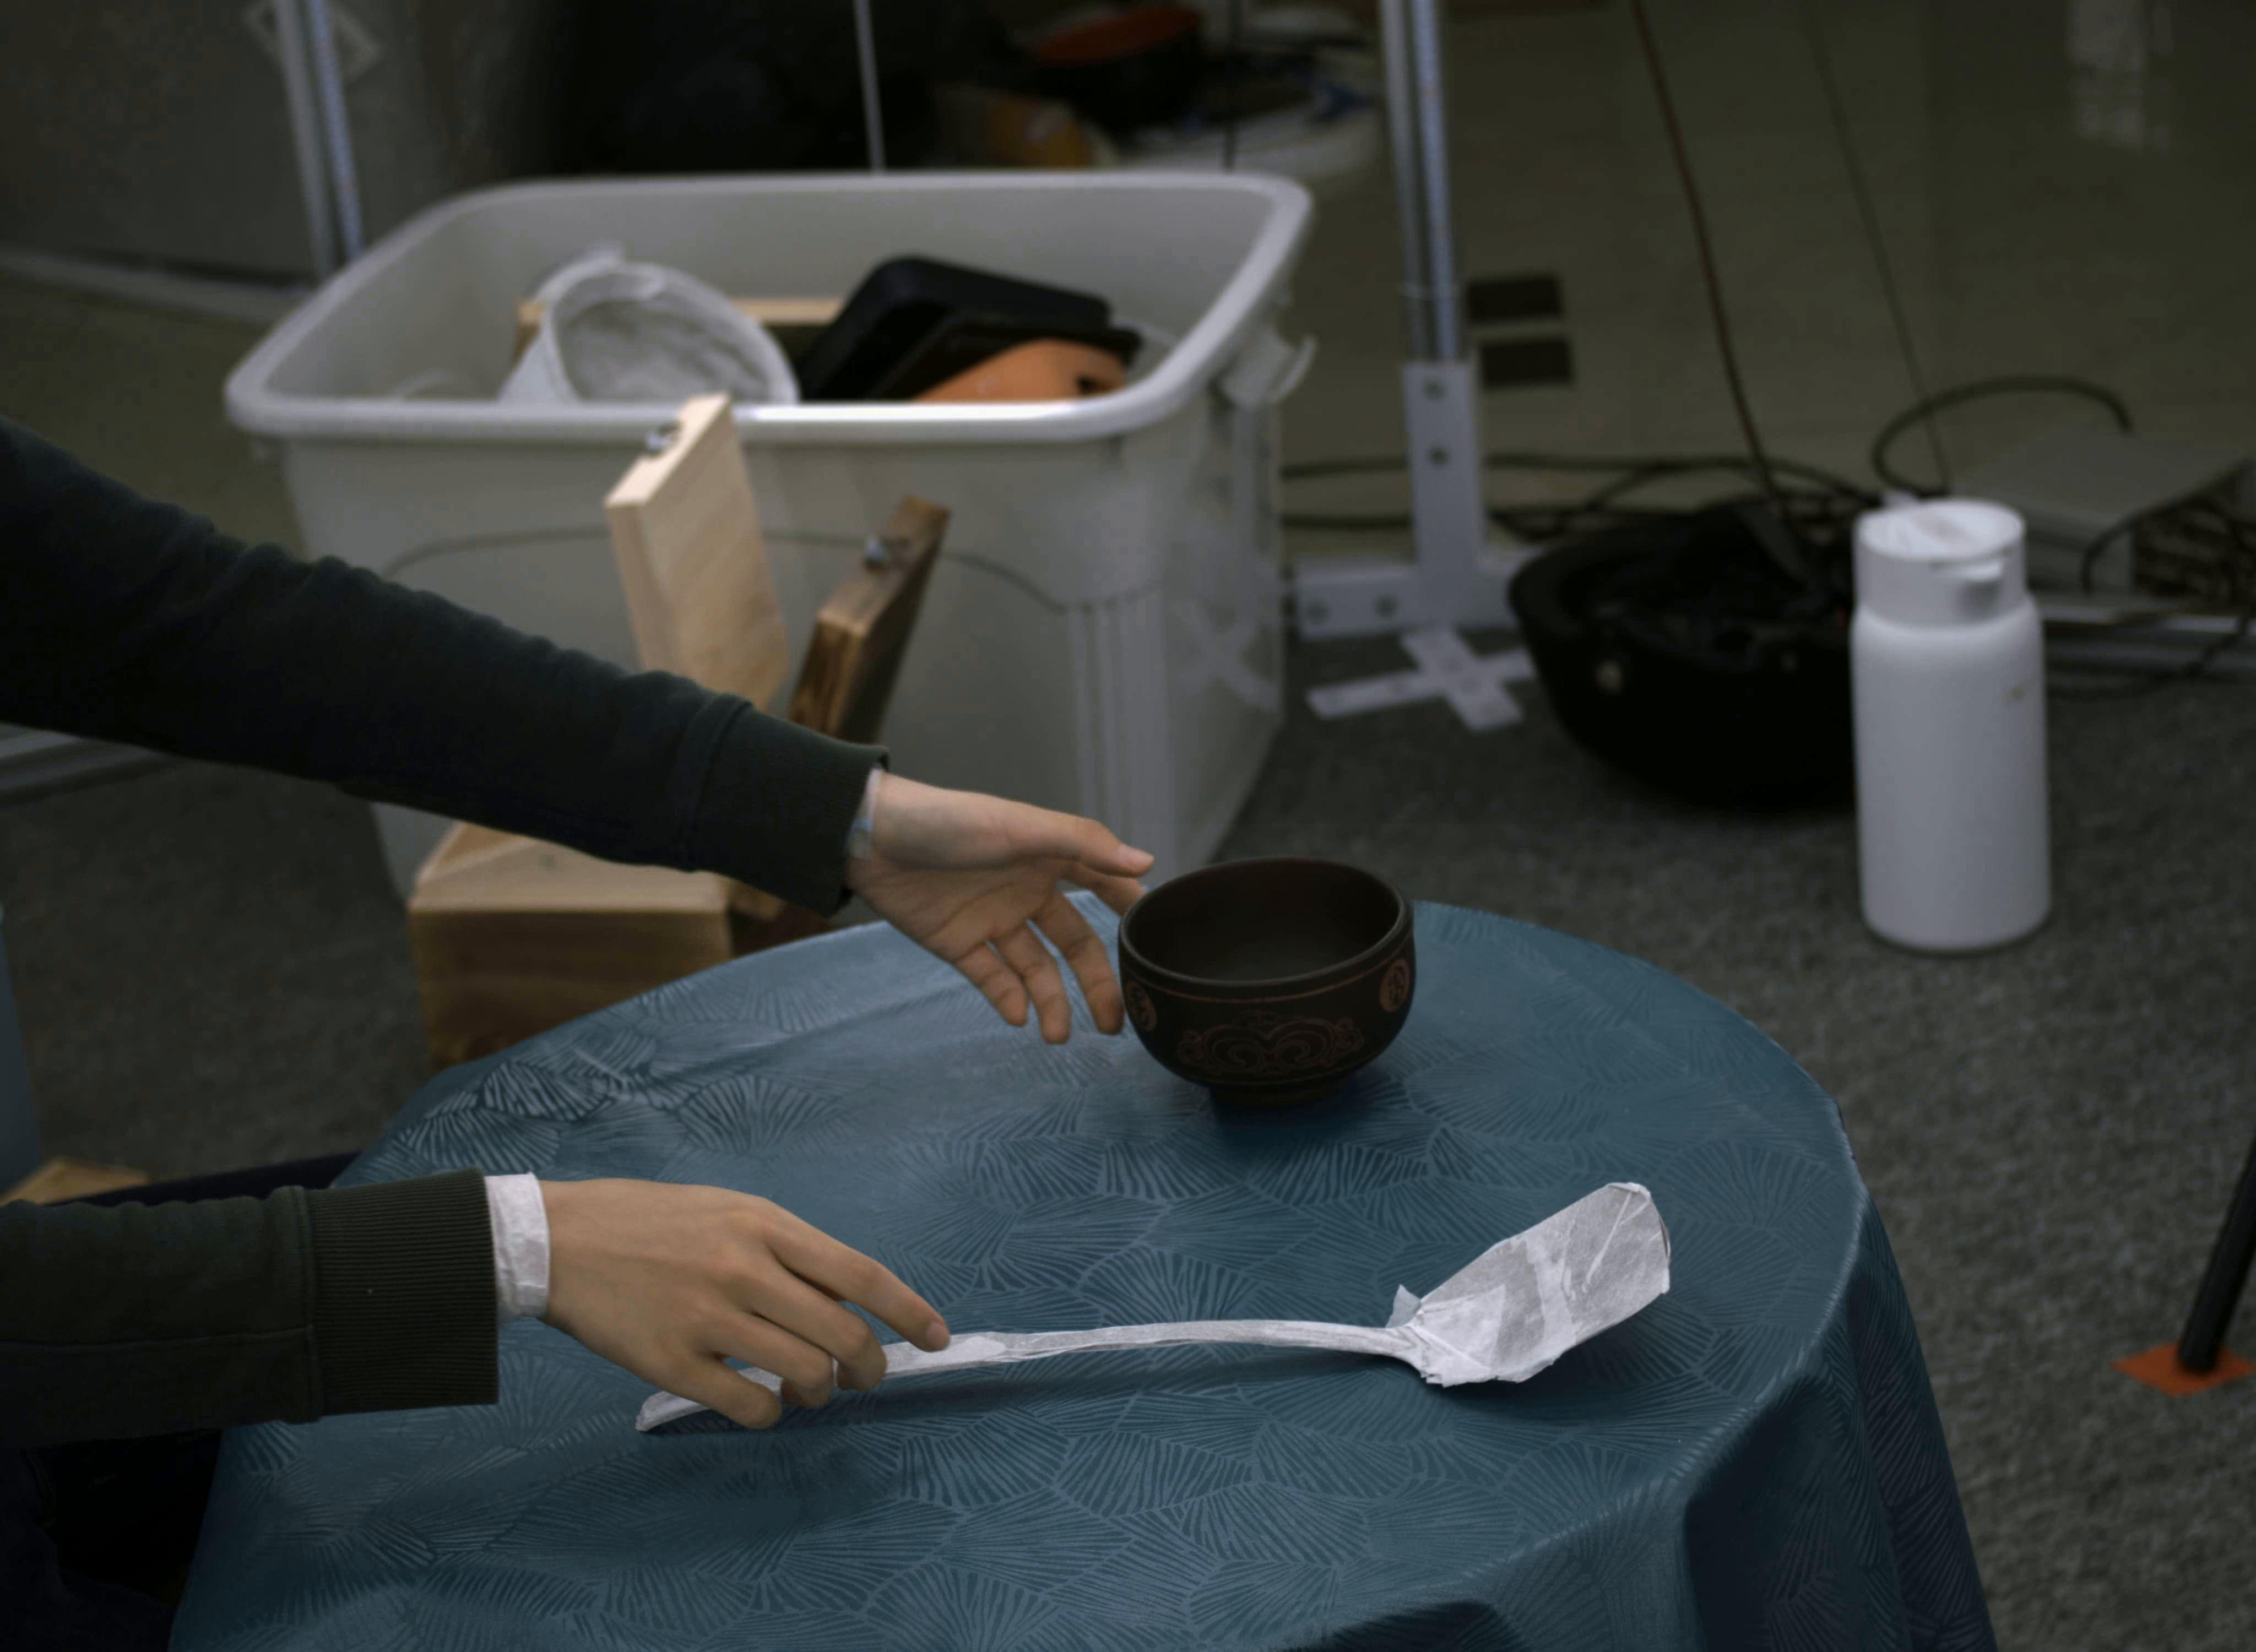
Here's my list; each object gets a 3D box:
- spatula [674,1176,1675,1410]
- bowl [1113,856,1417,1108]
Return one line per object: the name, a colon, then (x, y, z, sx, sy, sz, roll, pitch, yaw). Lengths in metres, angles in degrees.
spatula: (0.014, 0.177, 2.022, 0.364, 0.045, 0.097, -5, 27, 4)
bowl: (0.055, 0.067, 2.210, 0.118, 0.071, 0.116, -7, 24, 3)
